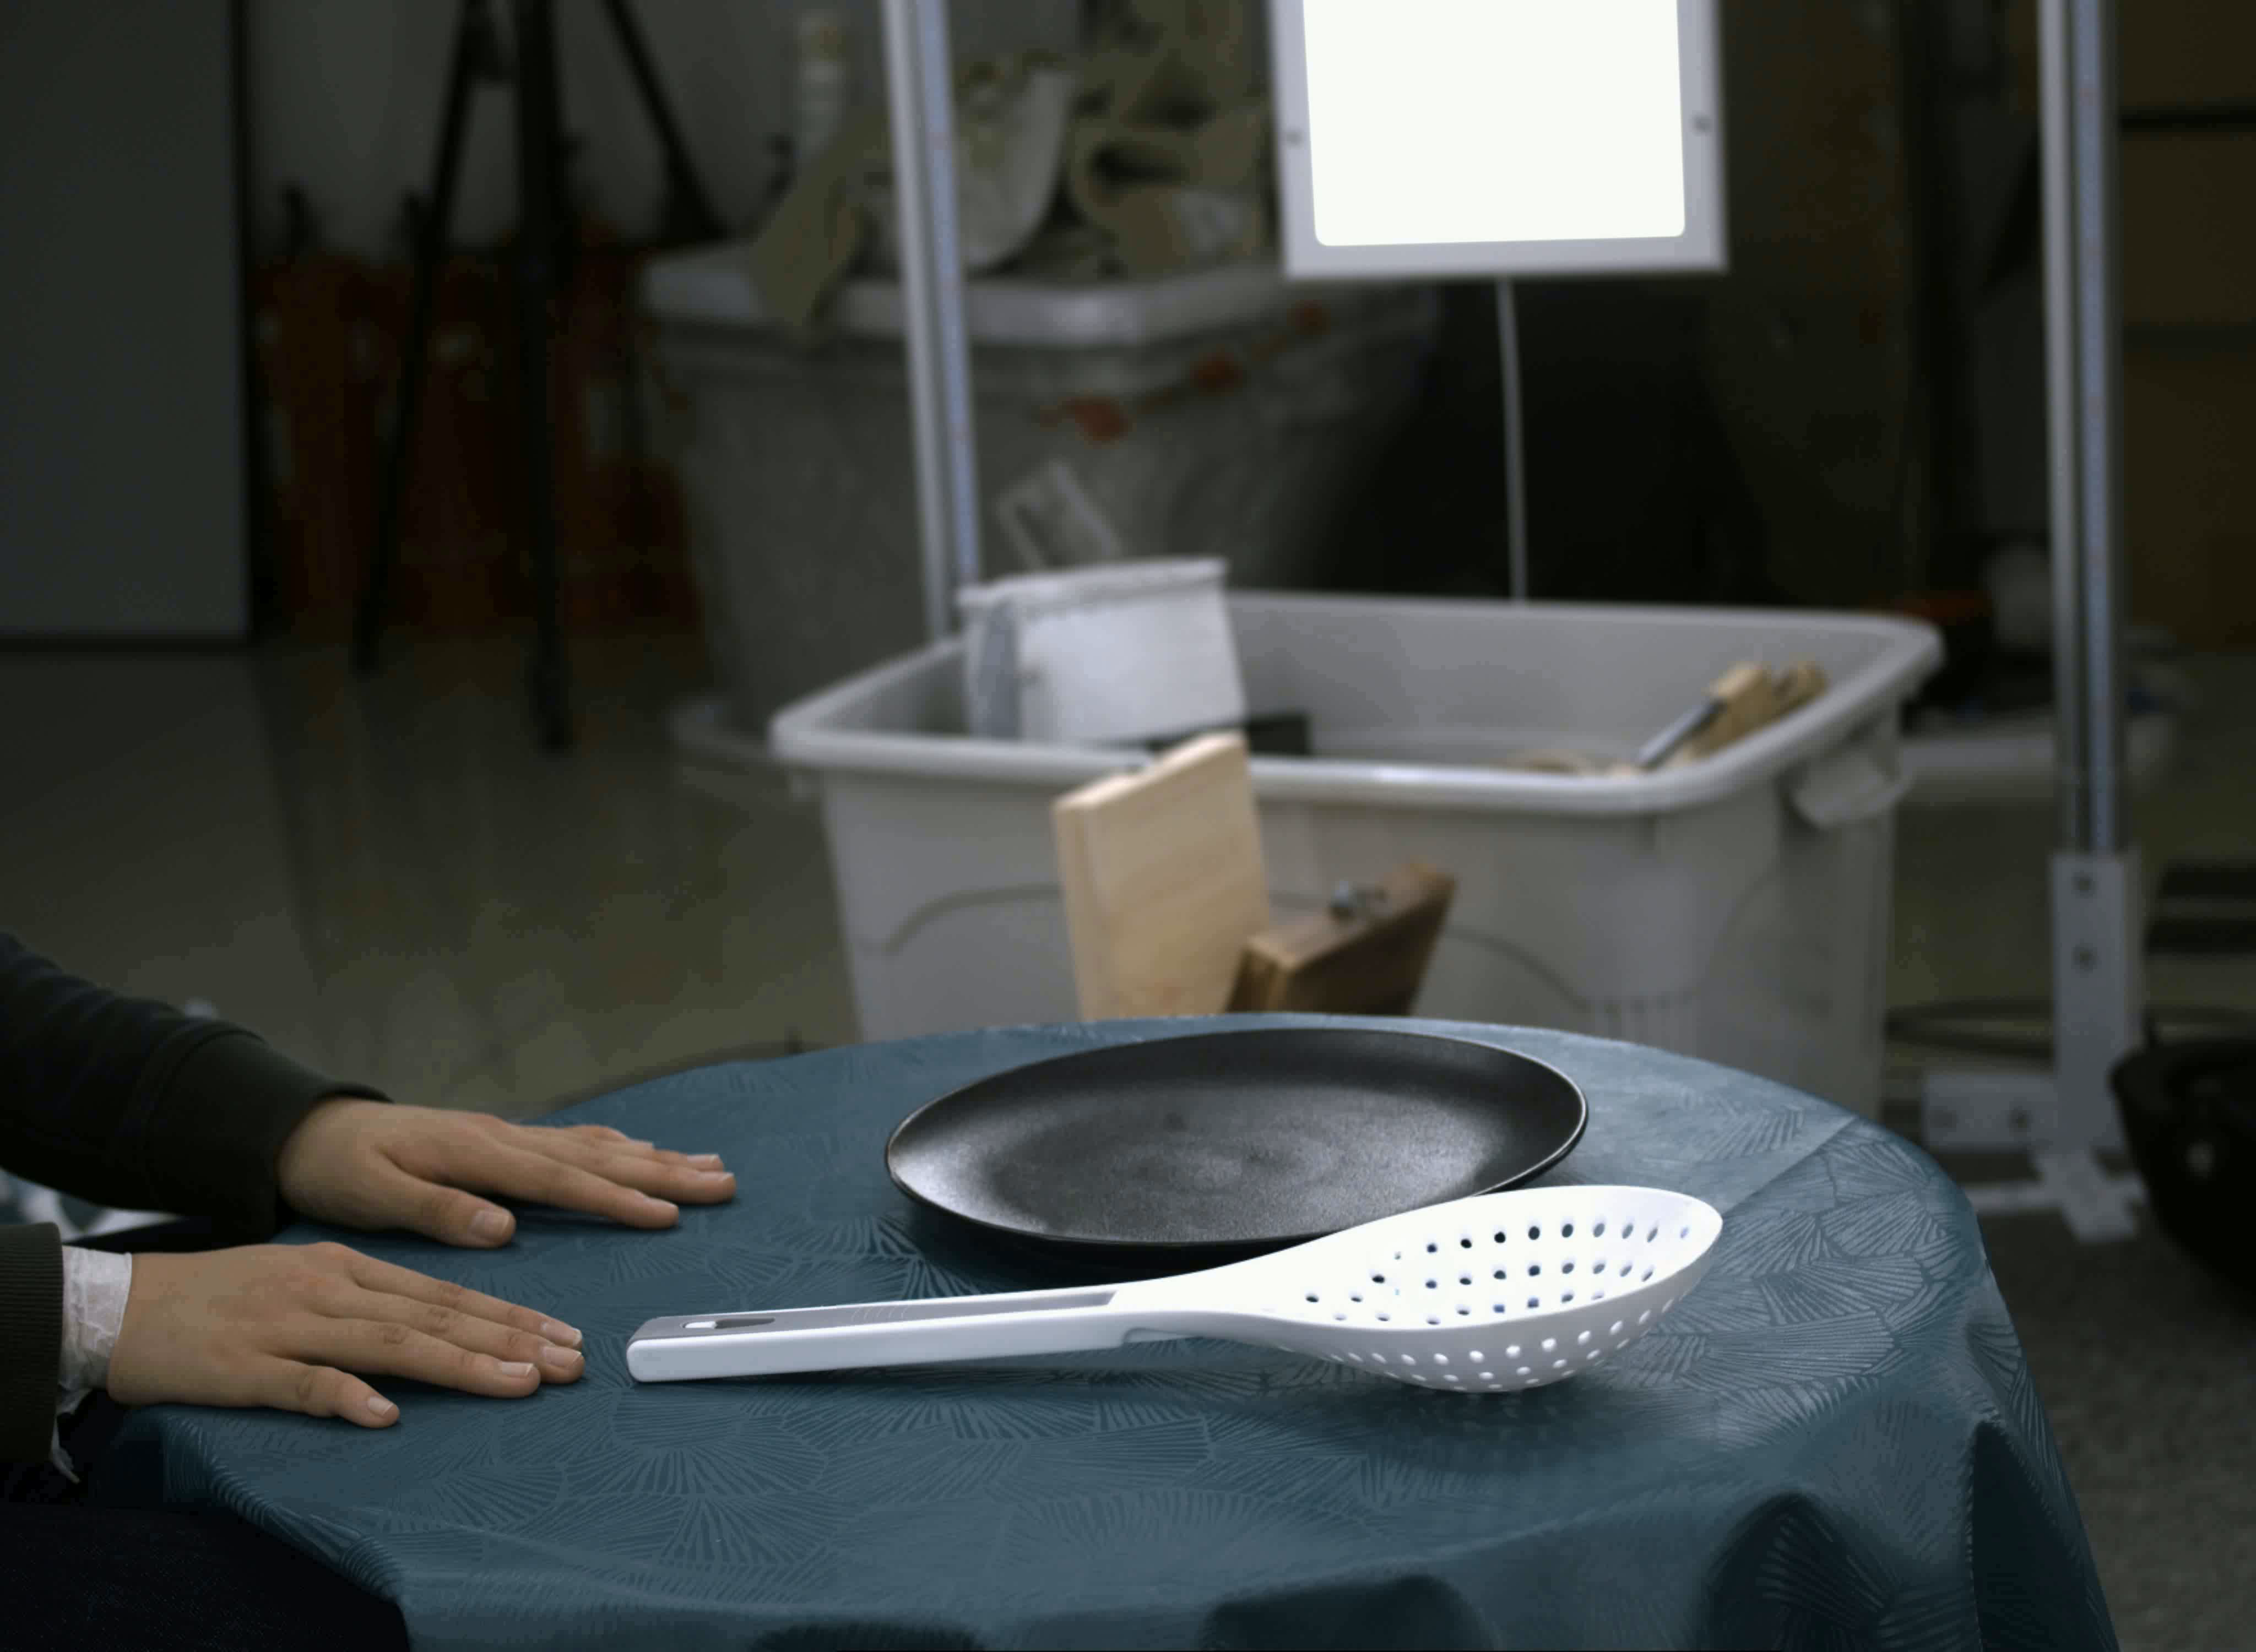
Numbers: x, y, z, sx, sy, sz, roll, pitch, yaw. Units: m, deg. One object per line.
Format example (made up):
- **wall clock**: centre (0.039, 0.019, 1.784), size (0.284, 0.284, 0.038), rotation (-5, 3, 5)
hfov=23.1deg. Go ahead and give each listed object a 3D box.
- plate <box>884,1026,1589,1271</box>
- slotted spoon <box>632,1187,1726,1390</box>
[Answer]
- **plate**: centre (0.038, 0.113, 1.889), size (0.244, 0.023, 0.244), rotation (-5, 14, 0)
- **slotted spoon**: centre (0.012, 0.149, 1.705), size (0.353, 0.046, 0.134), rotation (-2, 12, 16)
